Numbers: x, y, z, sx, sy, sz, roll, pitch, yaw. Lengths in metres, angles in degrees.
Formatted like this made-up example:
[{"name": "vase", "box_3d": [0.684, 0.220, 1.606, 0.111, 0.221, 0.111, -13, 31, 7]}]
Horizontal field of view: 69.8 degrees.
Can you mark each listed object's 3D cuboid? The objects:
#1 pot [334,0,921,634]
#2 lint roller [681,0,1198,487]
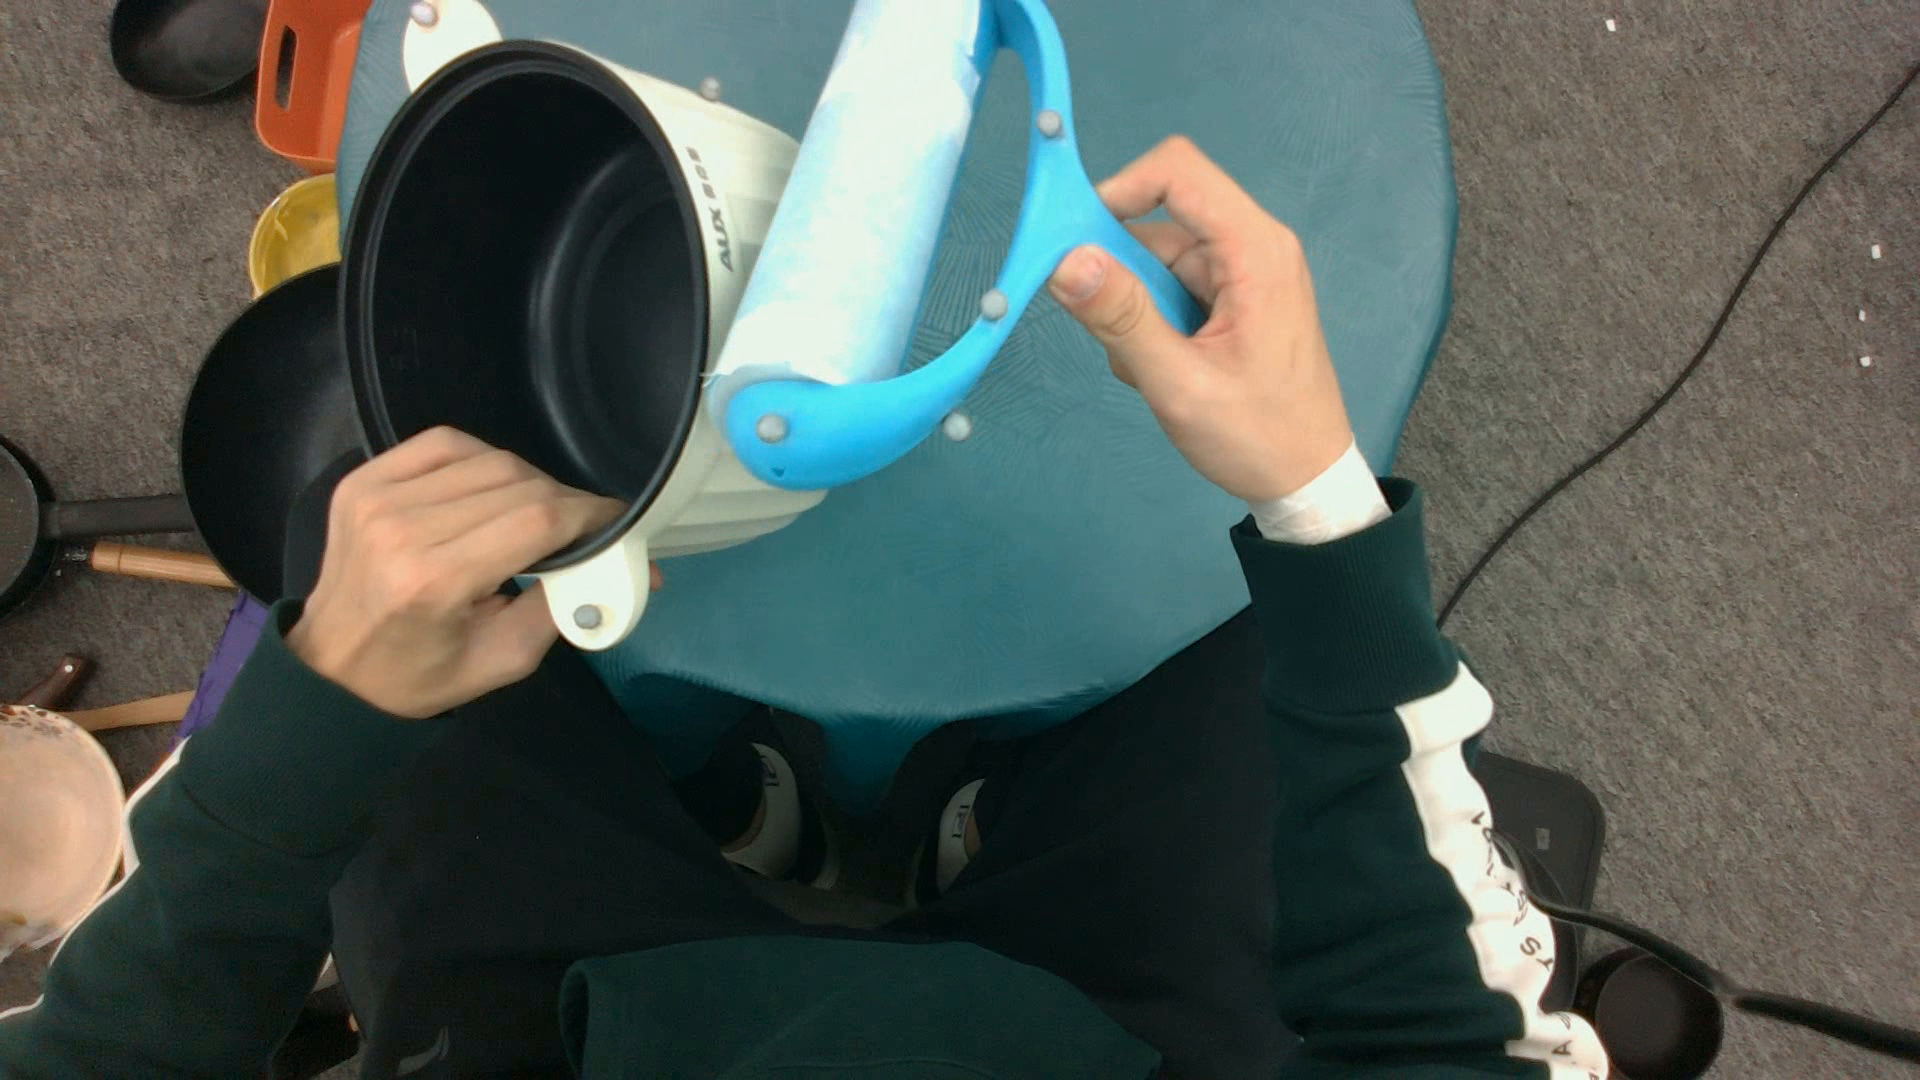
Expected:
[{"name": "pot", "box_3d": [-0.119, -0.090, 0.532, 0.190, 0.143, 0.240, -24, 85, 31]}, {"name": "lint roller", "box_3d": [0.014, -0.097, 0.470, 0.180, 0.067, 0.230, 16, 53, -13]}]
